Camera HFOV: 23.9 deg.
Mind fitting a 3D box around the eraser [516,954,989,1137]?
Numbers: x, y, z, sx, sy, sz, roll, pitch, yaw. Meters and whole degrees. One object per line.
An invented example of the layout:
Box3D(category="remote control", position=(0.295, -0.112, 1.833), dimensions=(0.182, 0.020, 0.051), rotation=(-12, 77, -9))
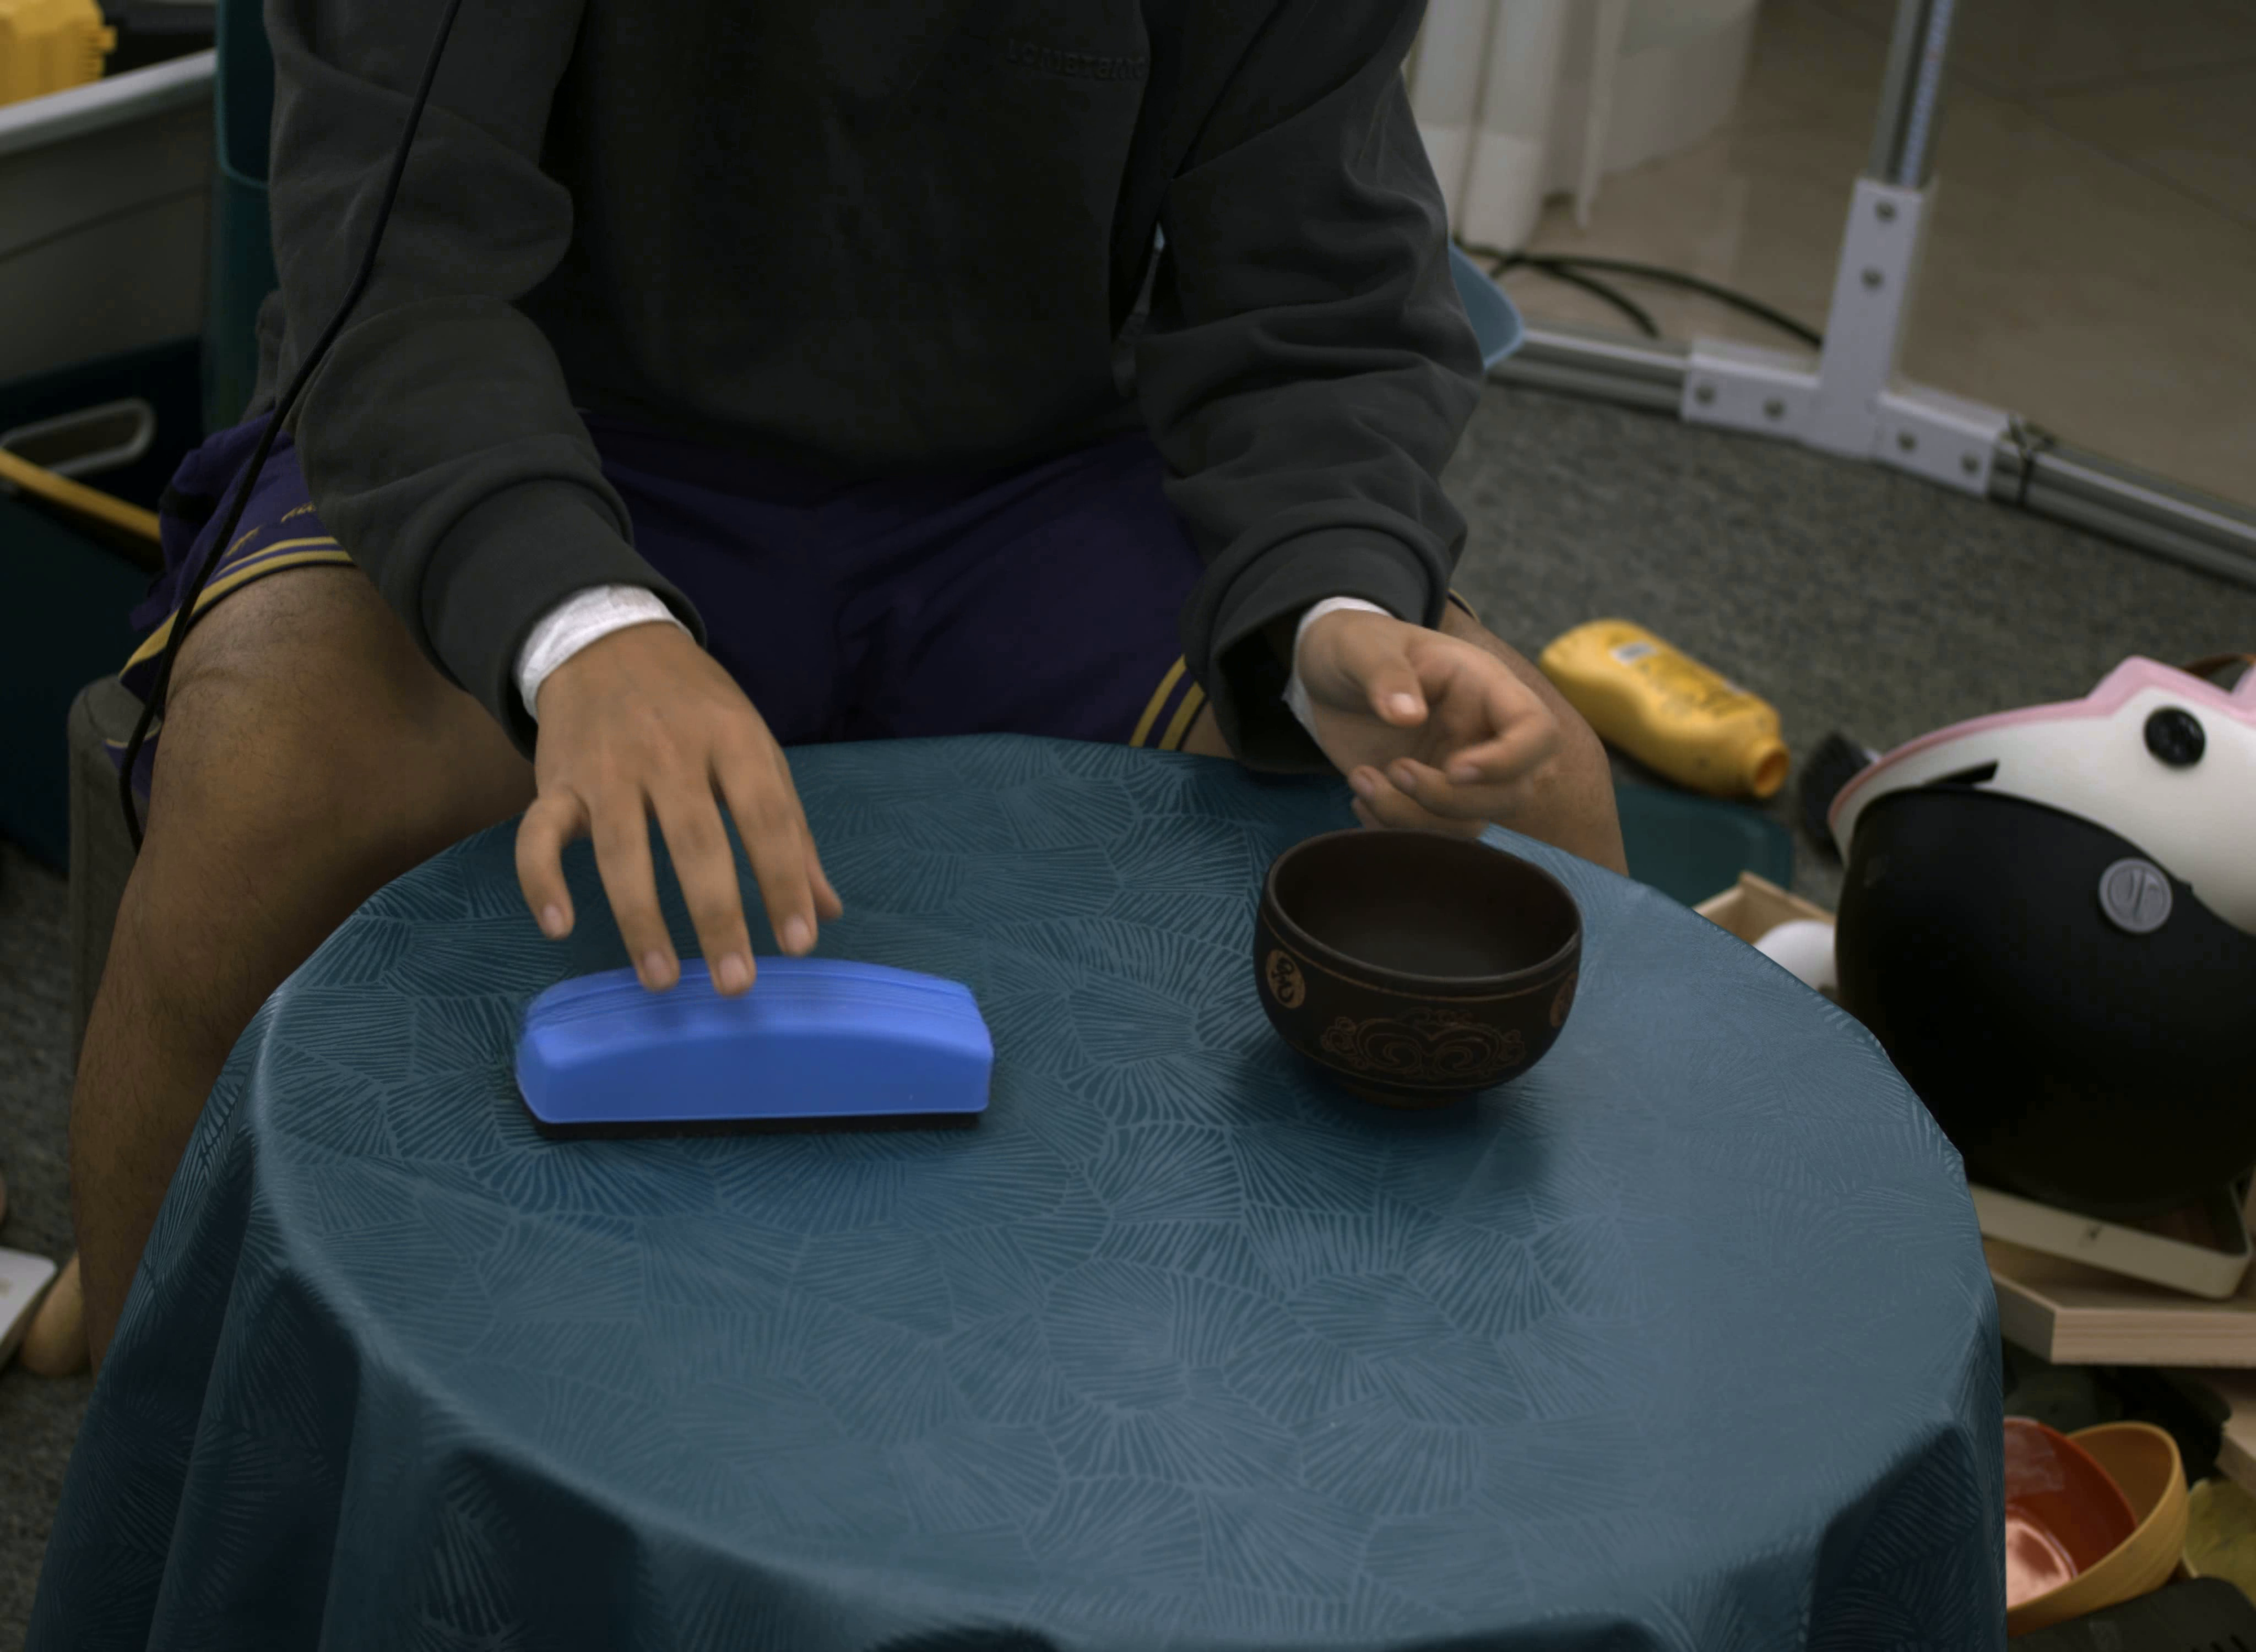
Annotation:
Box3D(category="eraser", position=(-0.127, 0.074, 1.820), dimensions=(0.161, 0.047, 0.054), rotation=(-1, 28, -15))

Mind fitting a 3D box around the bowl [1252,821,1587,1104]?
Box3D(category="bowl", position=(0.101, 0.055, 1.878), dimensions=(0.117, 0.069, 0.119), rotation=(4, 26, -2))
